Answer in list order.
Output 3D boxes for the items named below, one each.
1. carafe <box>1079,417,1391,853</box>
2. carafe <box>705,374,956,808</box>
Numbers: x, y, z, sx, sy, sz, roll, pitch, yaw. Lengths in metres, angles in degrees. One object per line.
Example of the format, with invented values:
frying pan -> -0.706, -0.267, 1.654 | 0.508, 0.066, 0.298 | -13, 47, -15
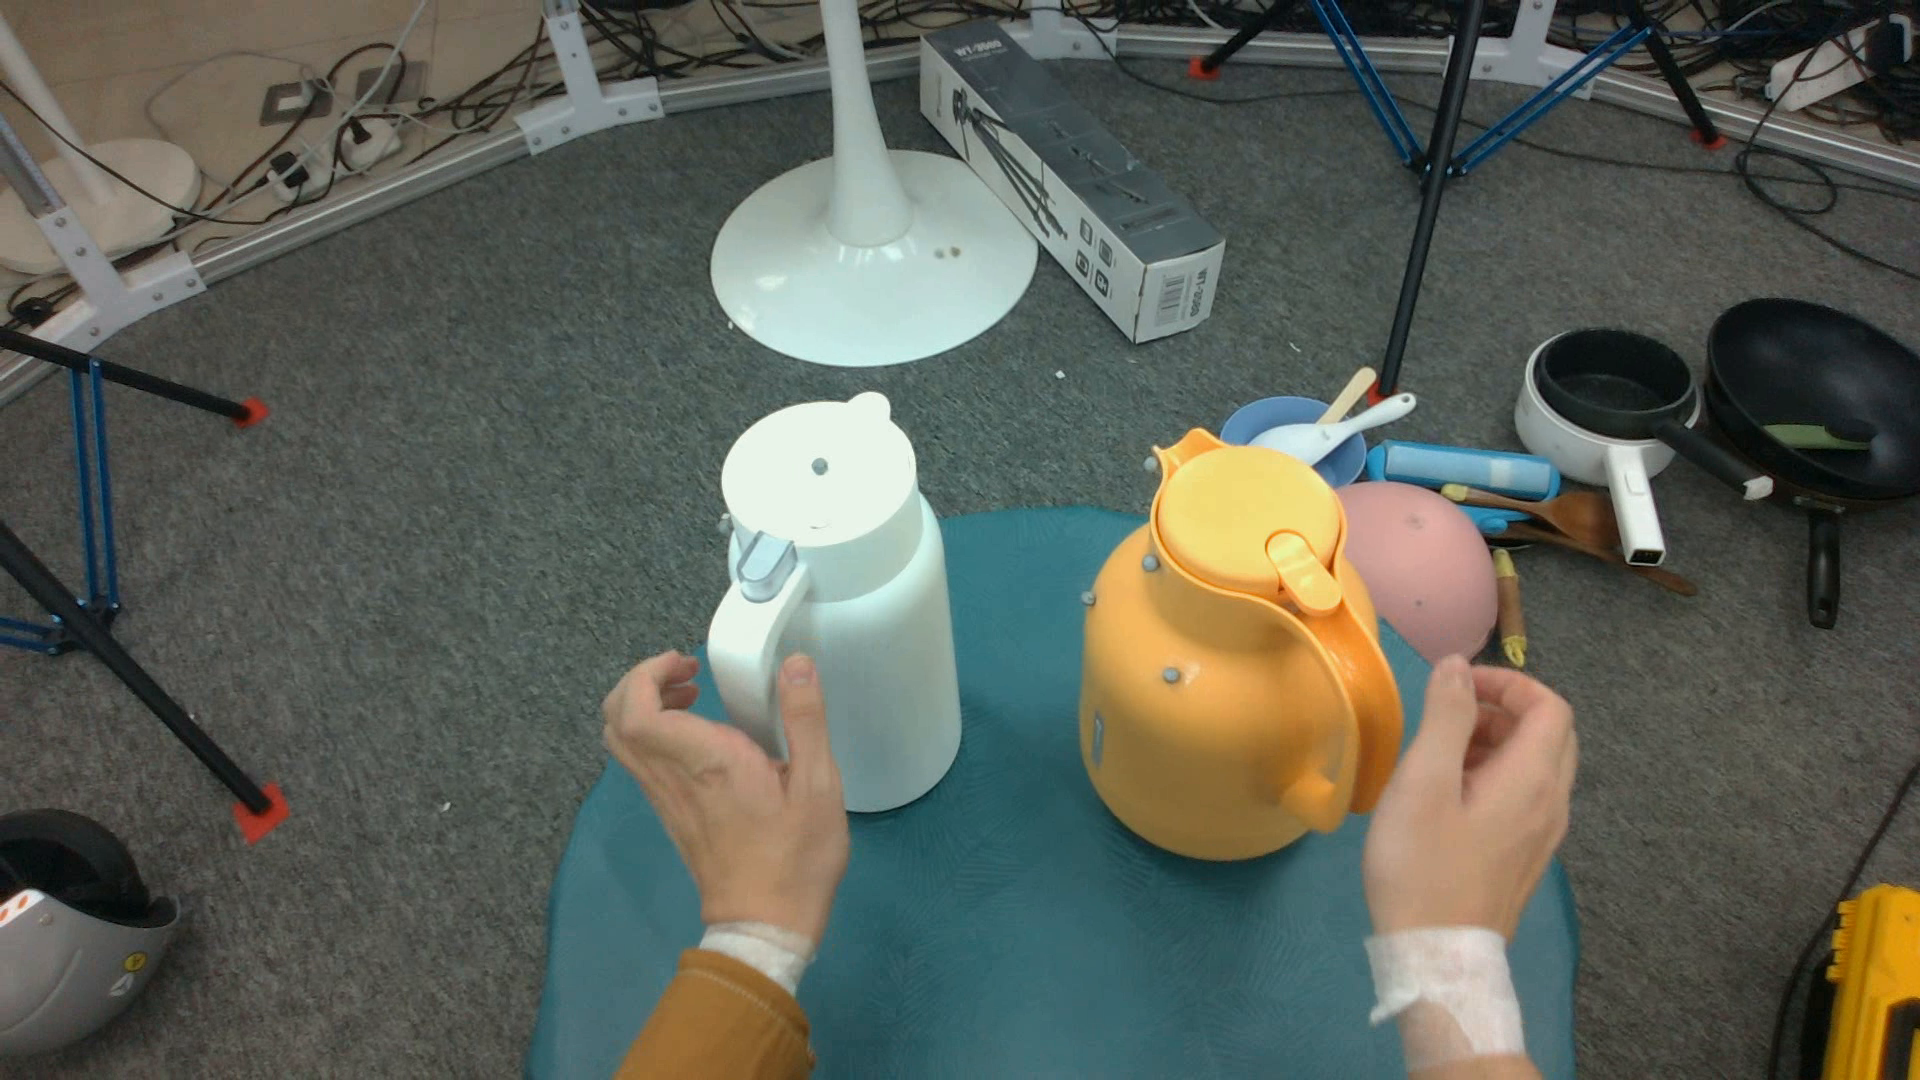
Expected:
carafe -> 0.155, 0.070, 0.765 | 0.164, 0.259, 0.203 | -22, 52, -11
carafe -> -0.072, 0.055, 0.784 | 0.124, 0.267, 0.173 | 17, 54, 14
